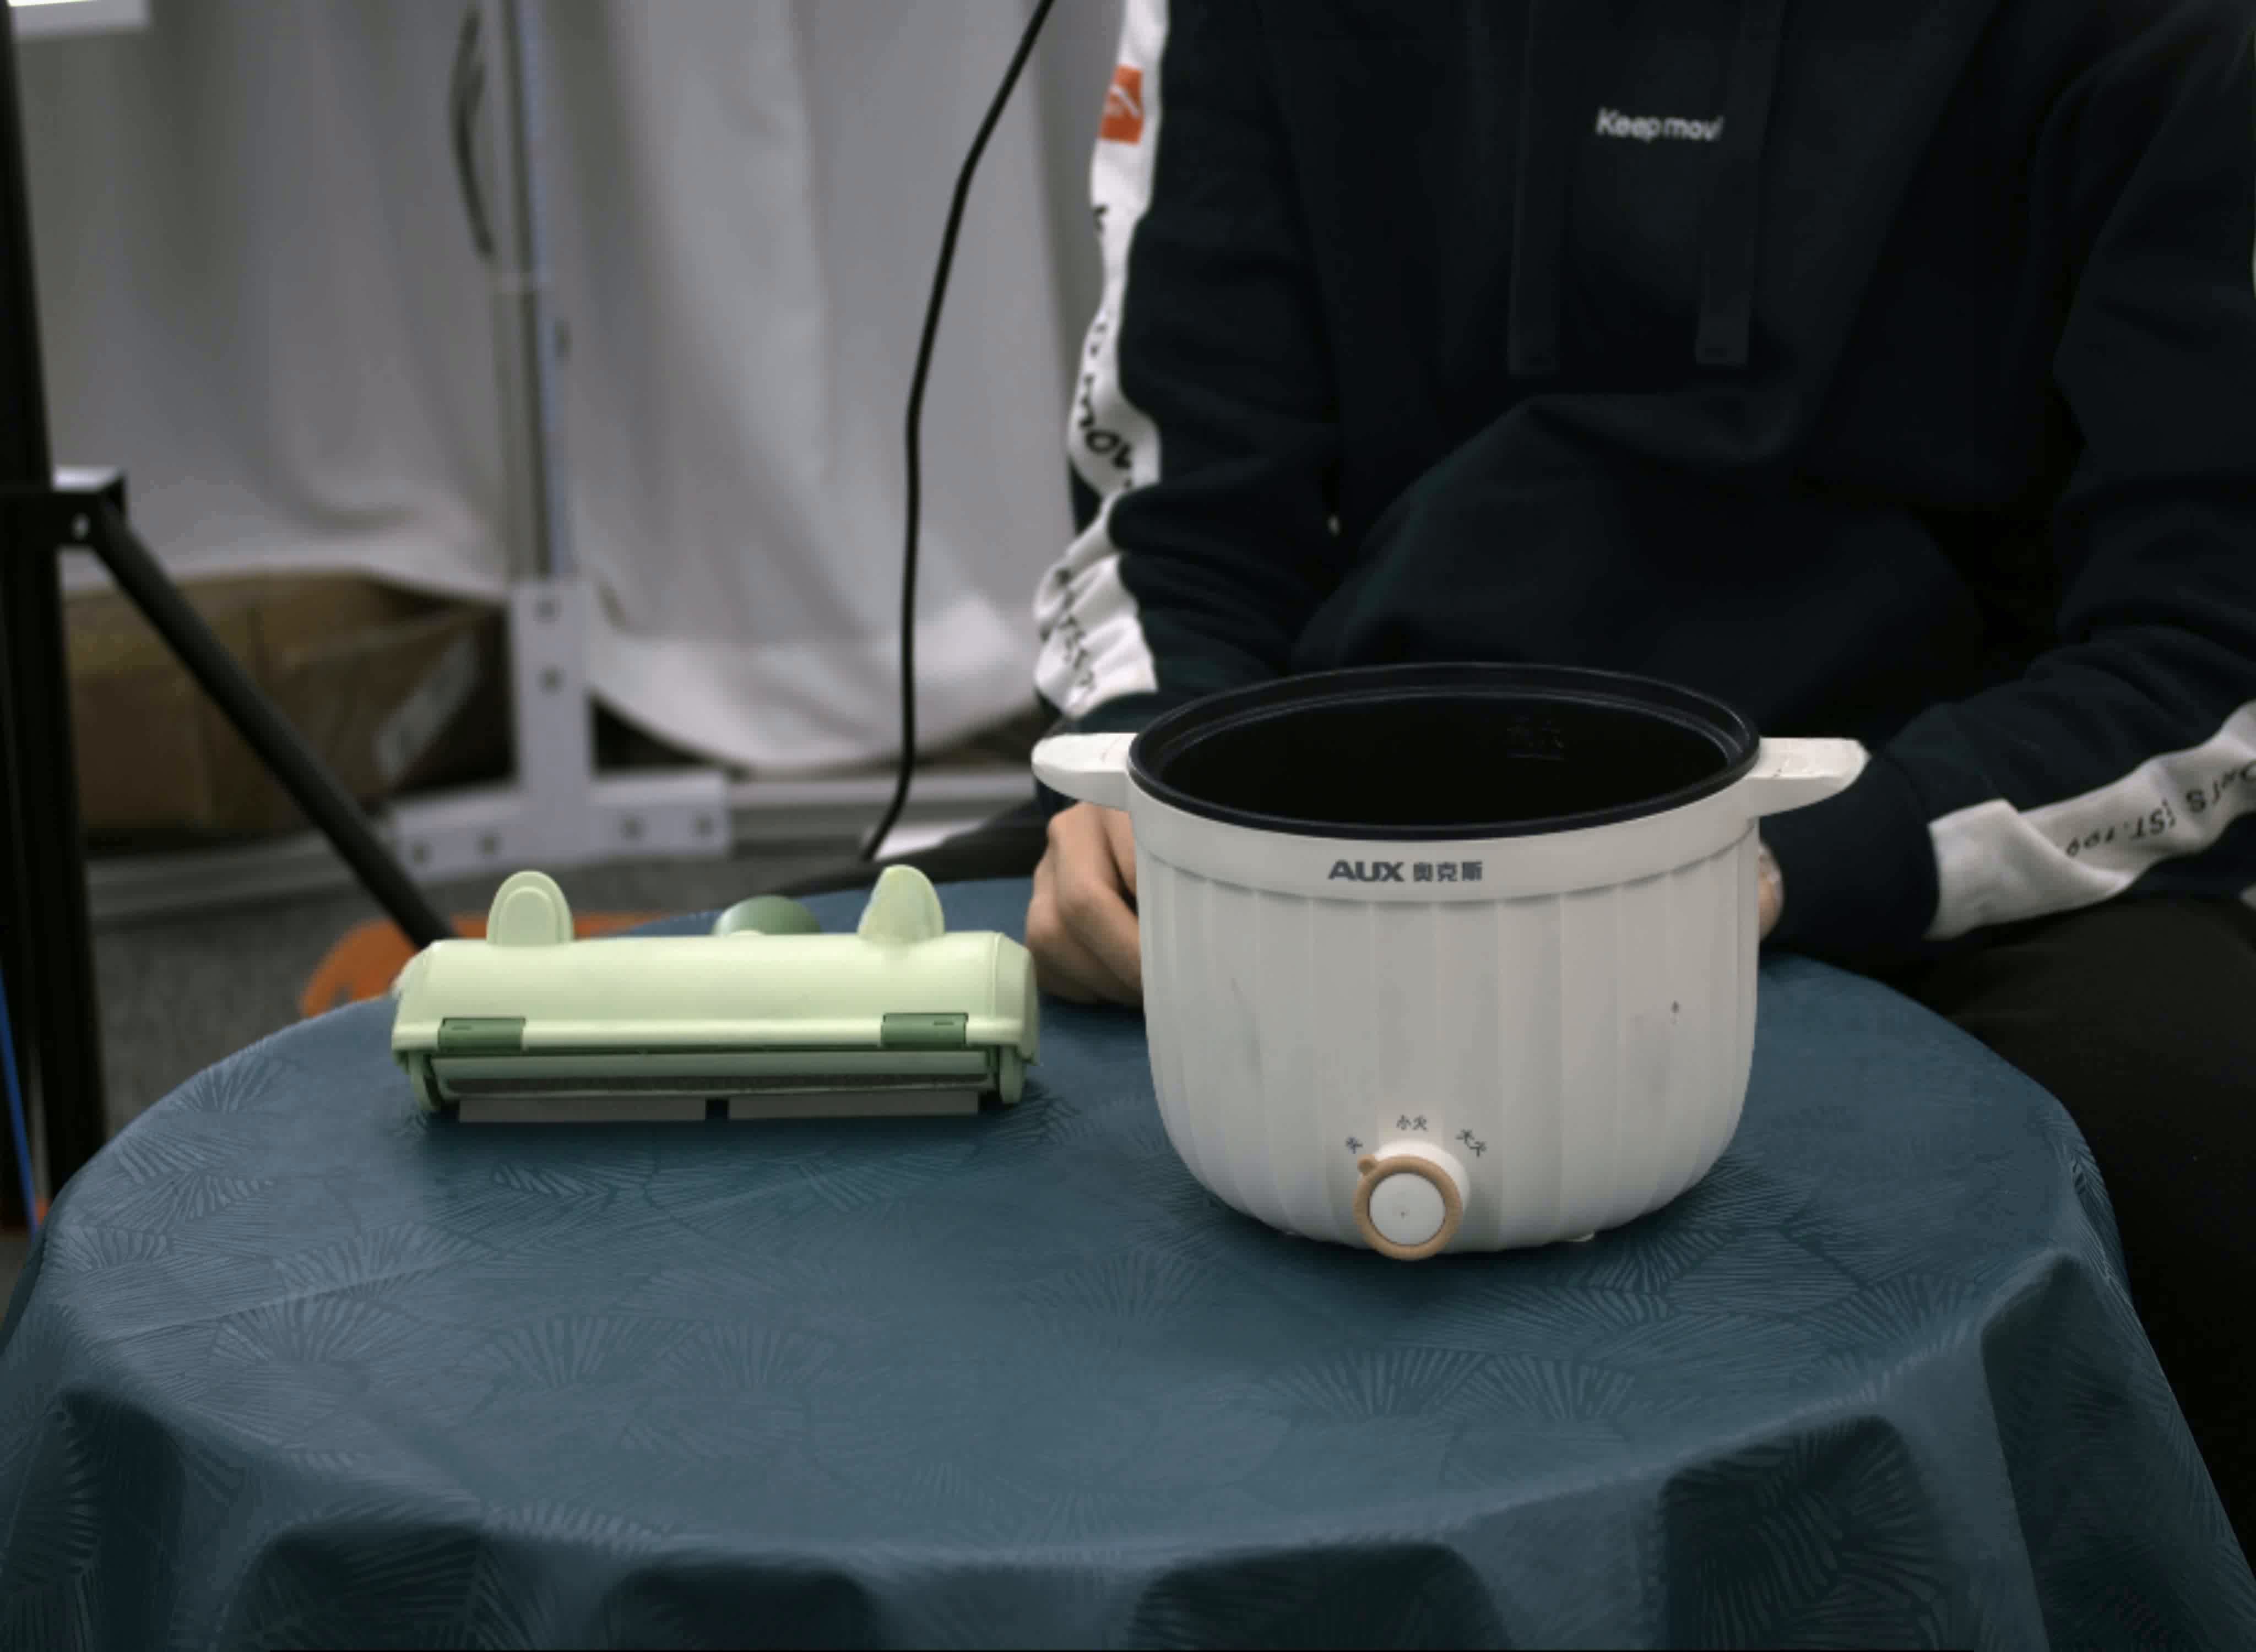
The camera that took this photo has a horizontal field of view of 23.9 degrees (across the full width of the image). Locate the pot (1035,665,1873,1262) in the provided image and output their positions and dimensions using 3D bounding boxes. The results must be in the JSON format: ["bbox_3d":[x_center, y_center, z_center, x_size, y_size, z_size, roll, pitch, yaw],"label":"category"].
[{"bbox_3d":[0.094,0.042,1.524,0.241,0.143,0.189,-1,13,12],"label":"pot"}]

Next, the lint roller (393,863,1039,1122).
[{"bbox_3d":[-0.123,0.035,1.699,0.199,0.082,0.183,-2,21,6],"label":"lint roller"}]
